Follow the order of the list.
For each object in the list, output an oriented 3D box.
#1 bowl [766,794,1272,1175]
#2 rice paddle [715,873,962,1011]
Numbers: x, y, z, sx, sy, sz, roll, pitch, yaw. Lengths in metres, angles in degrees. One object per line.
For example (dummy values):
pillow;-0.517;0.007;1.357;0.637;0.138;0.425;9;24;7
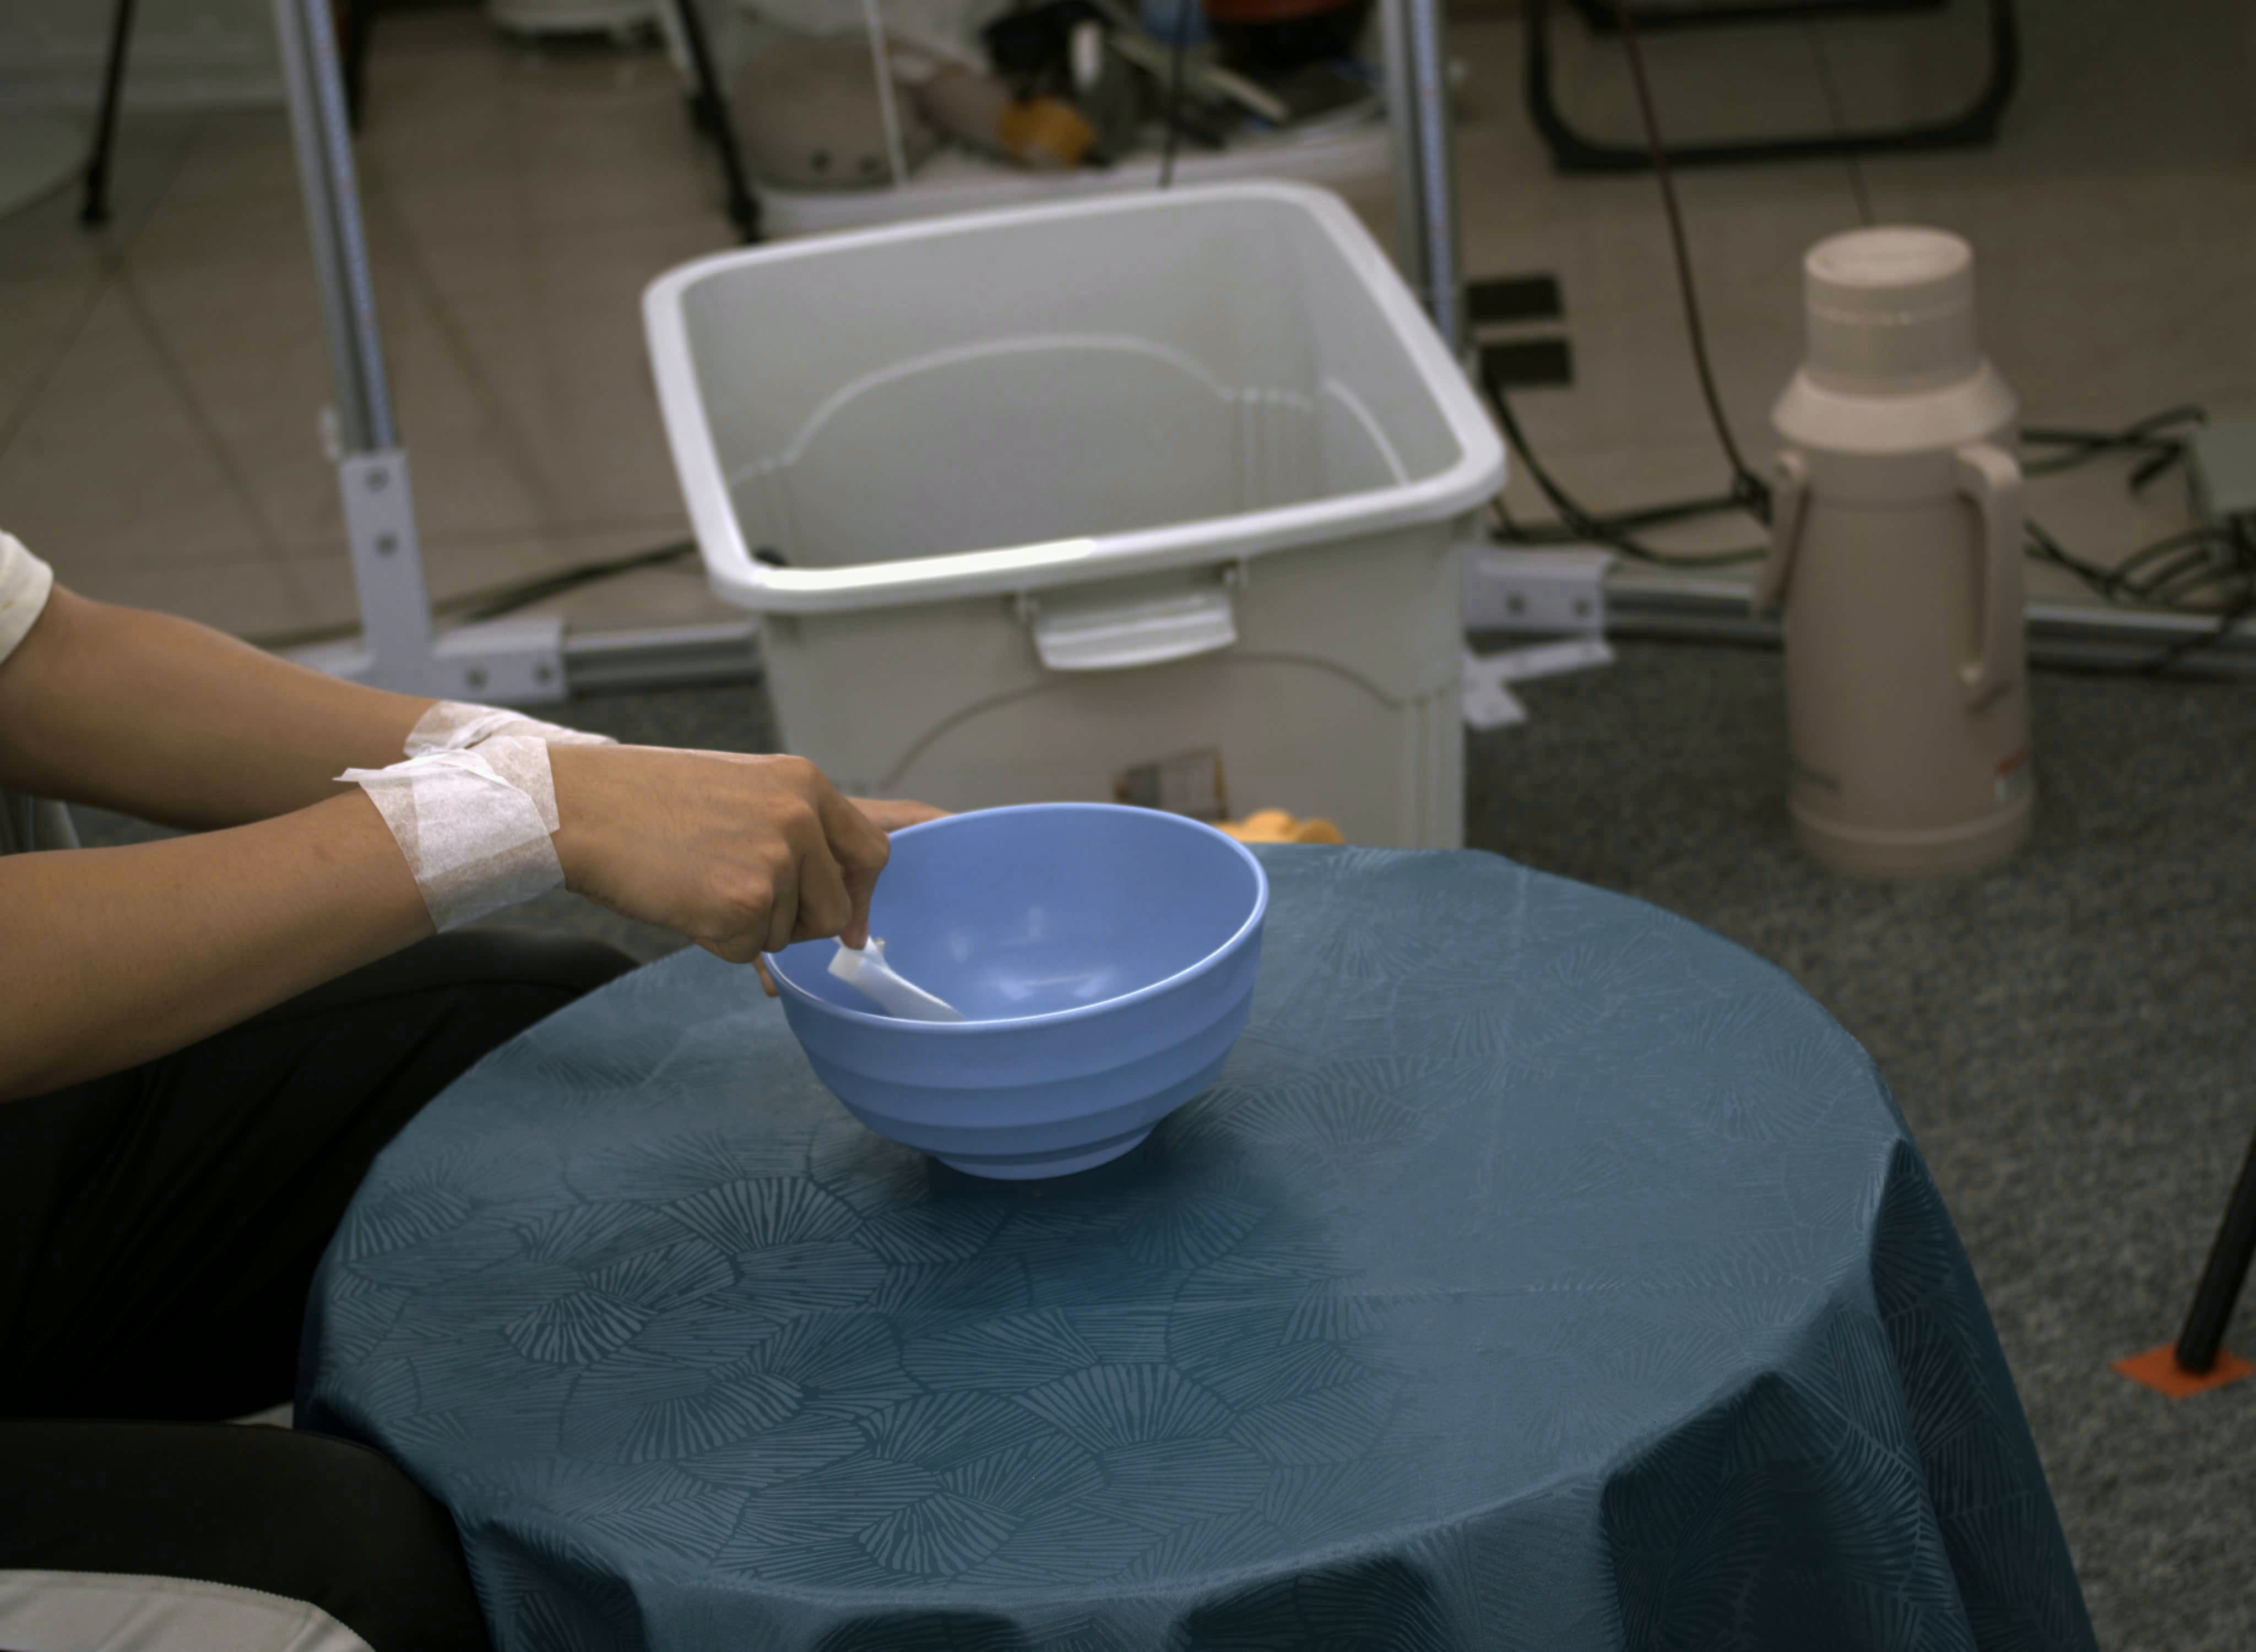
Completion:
bowl;-0.040;0.072;2.187;0.196;0.097;0.193;-4;26;2
rice paddle;-0.100;0.056;2.168;0.068;0.029;0.207;15;-8;25
